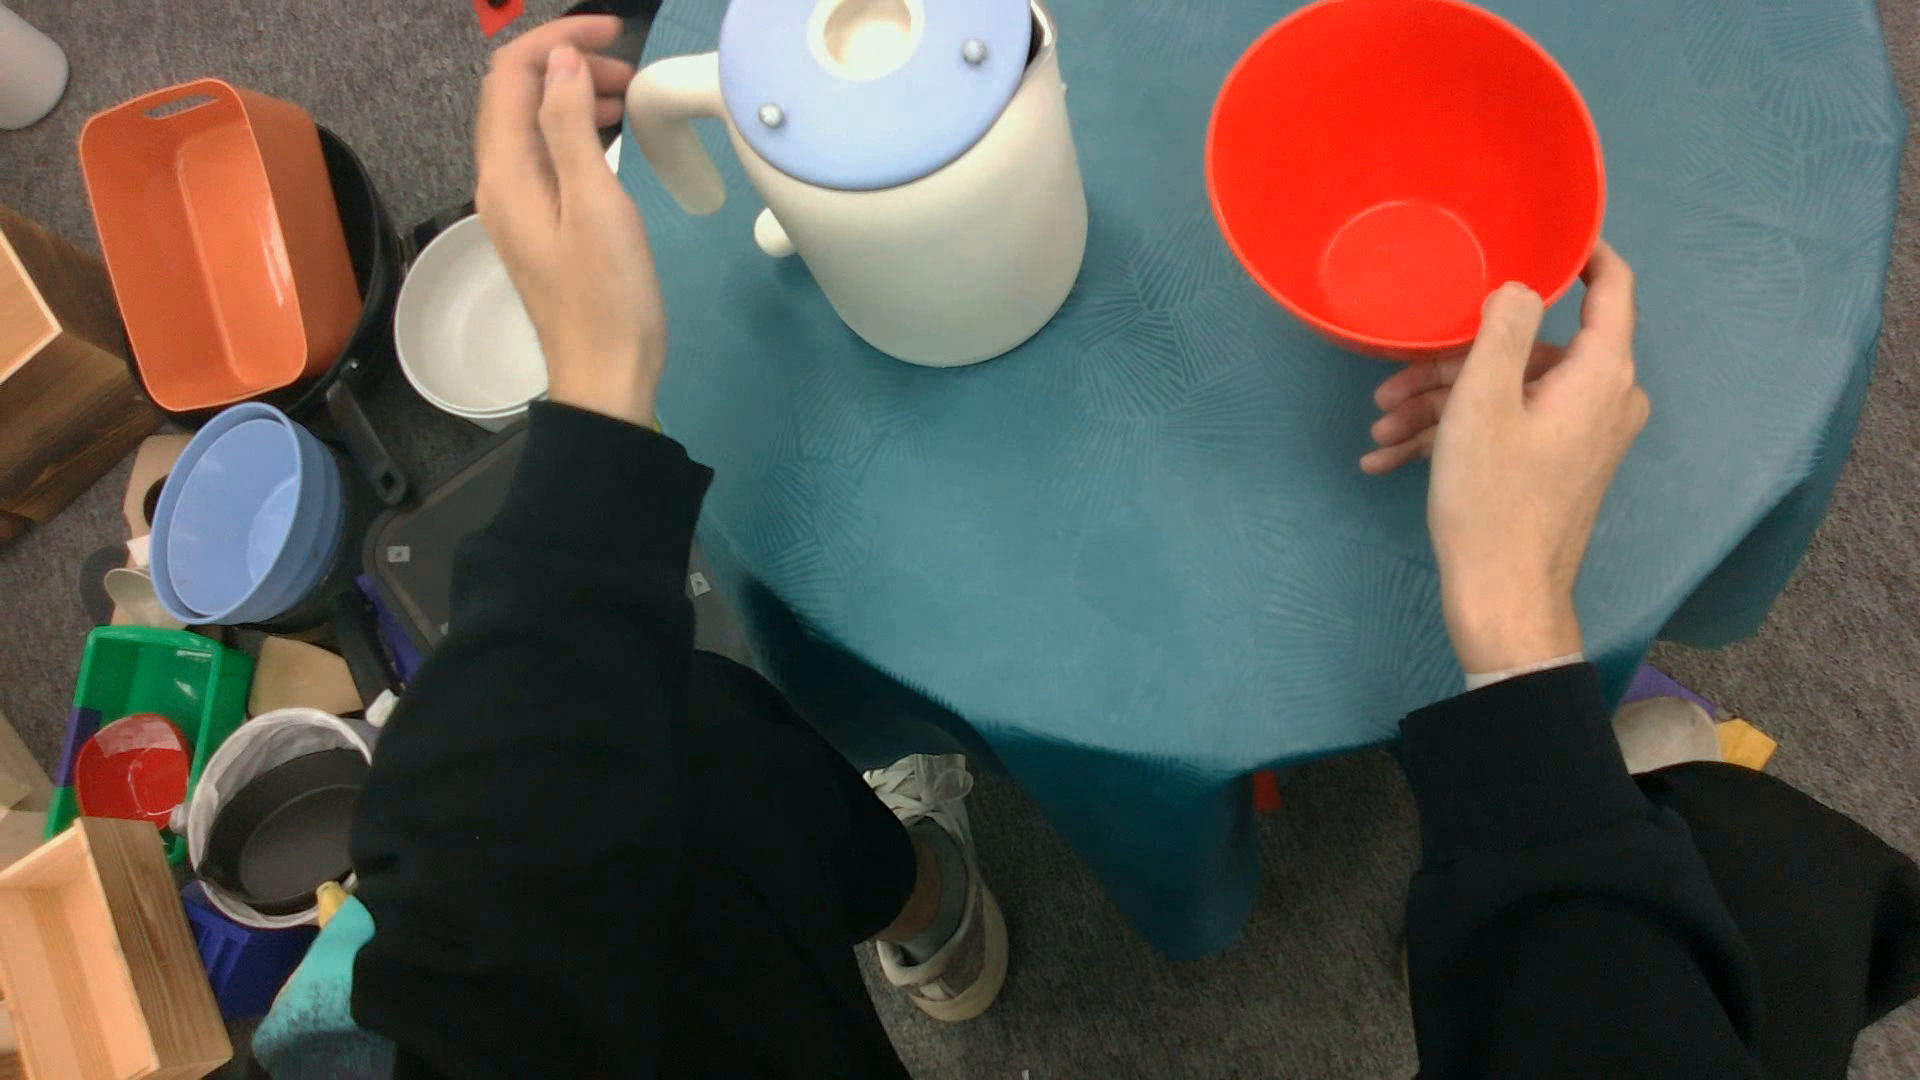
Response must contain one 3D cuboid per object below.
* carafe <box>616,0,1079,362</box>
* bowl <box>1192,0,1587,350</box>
[{"bbox_3d":[-0.046,-0.165,0.592,0.191,0.182,0.132,-1,74,12],"label":"carafe"},{"bbox_3d":[0.170,-0.136,0.562,0.148,0.104,0.148,-3,73,9],"label":"bowl"}]
